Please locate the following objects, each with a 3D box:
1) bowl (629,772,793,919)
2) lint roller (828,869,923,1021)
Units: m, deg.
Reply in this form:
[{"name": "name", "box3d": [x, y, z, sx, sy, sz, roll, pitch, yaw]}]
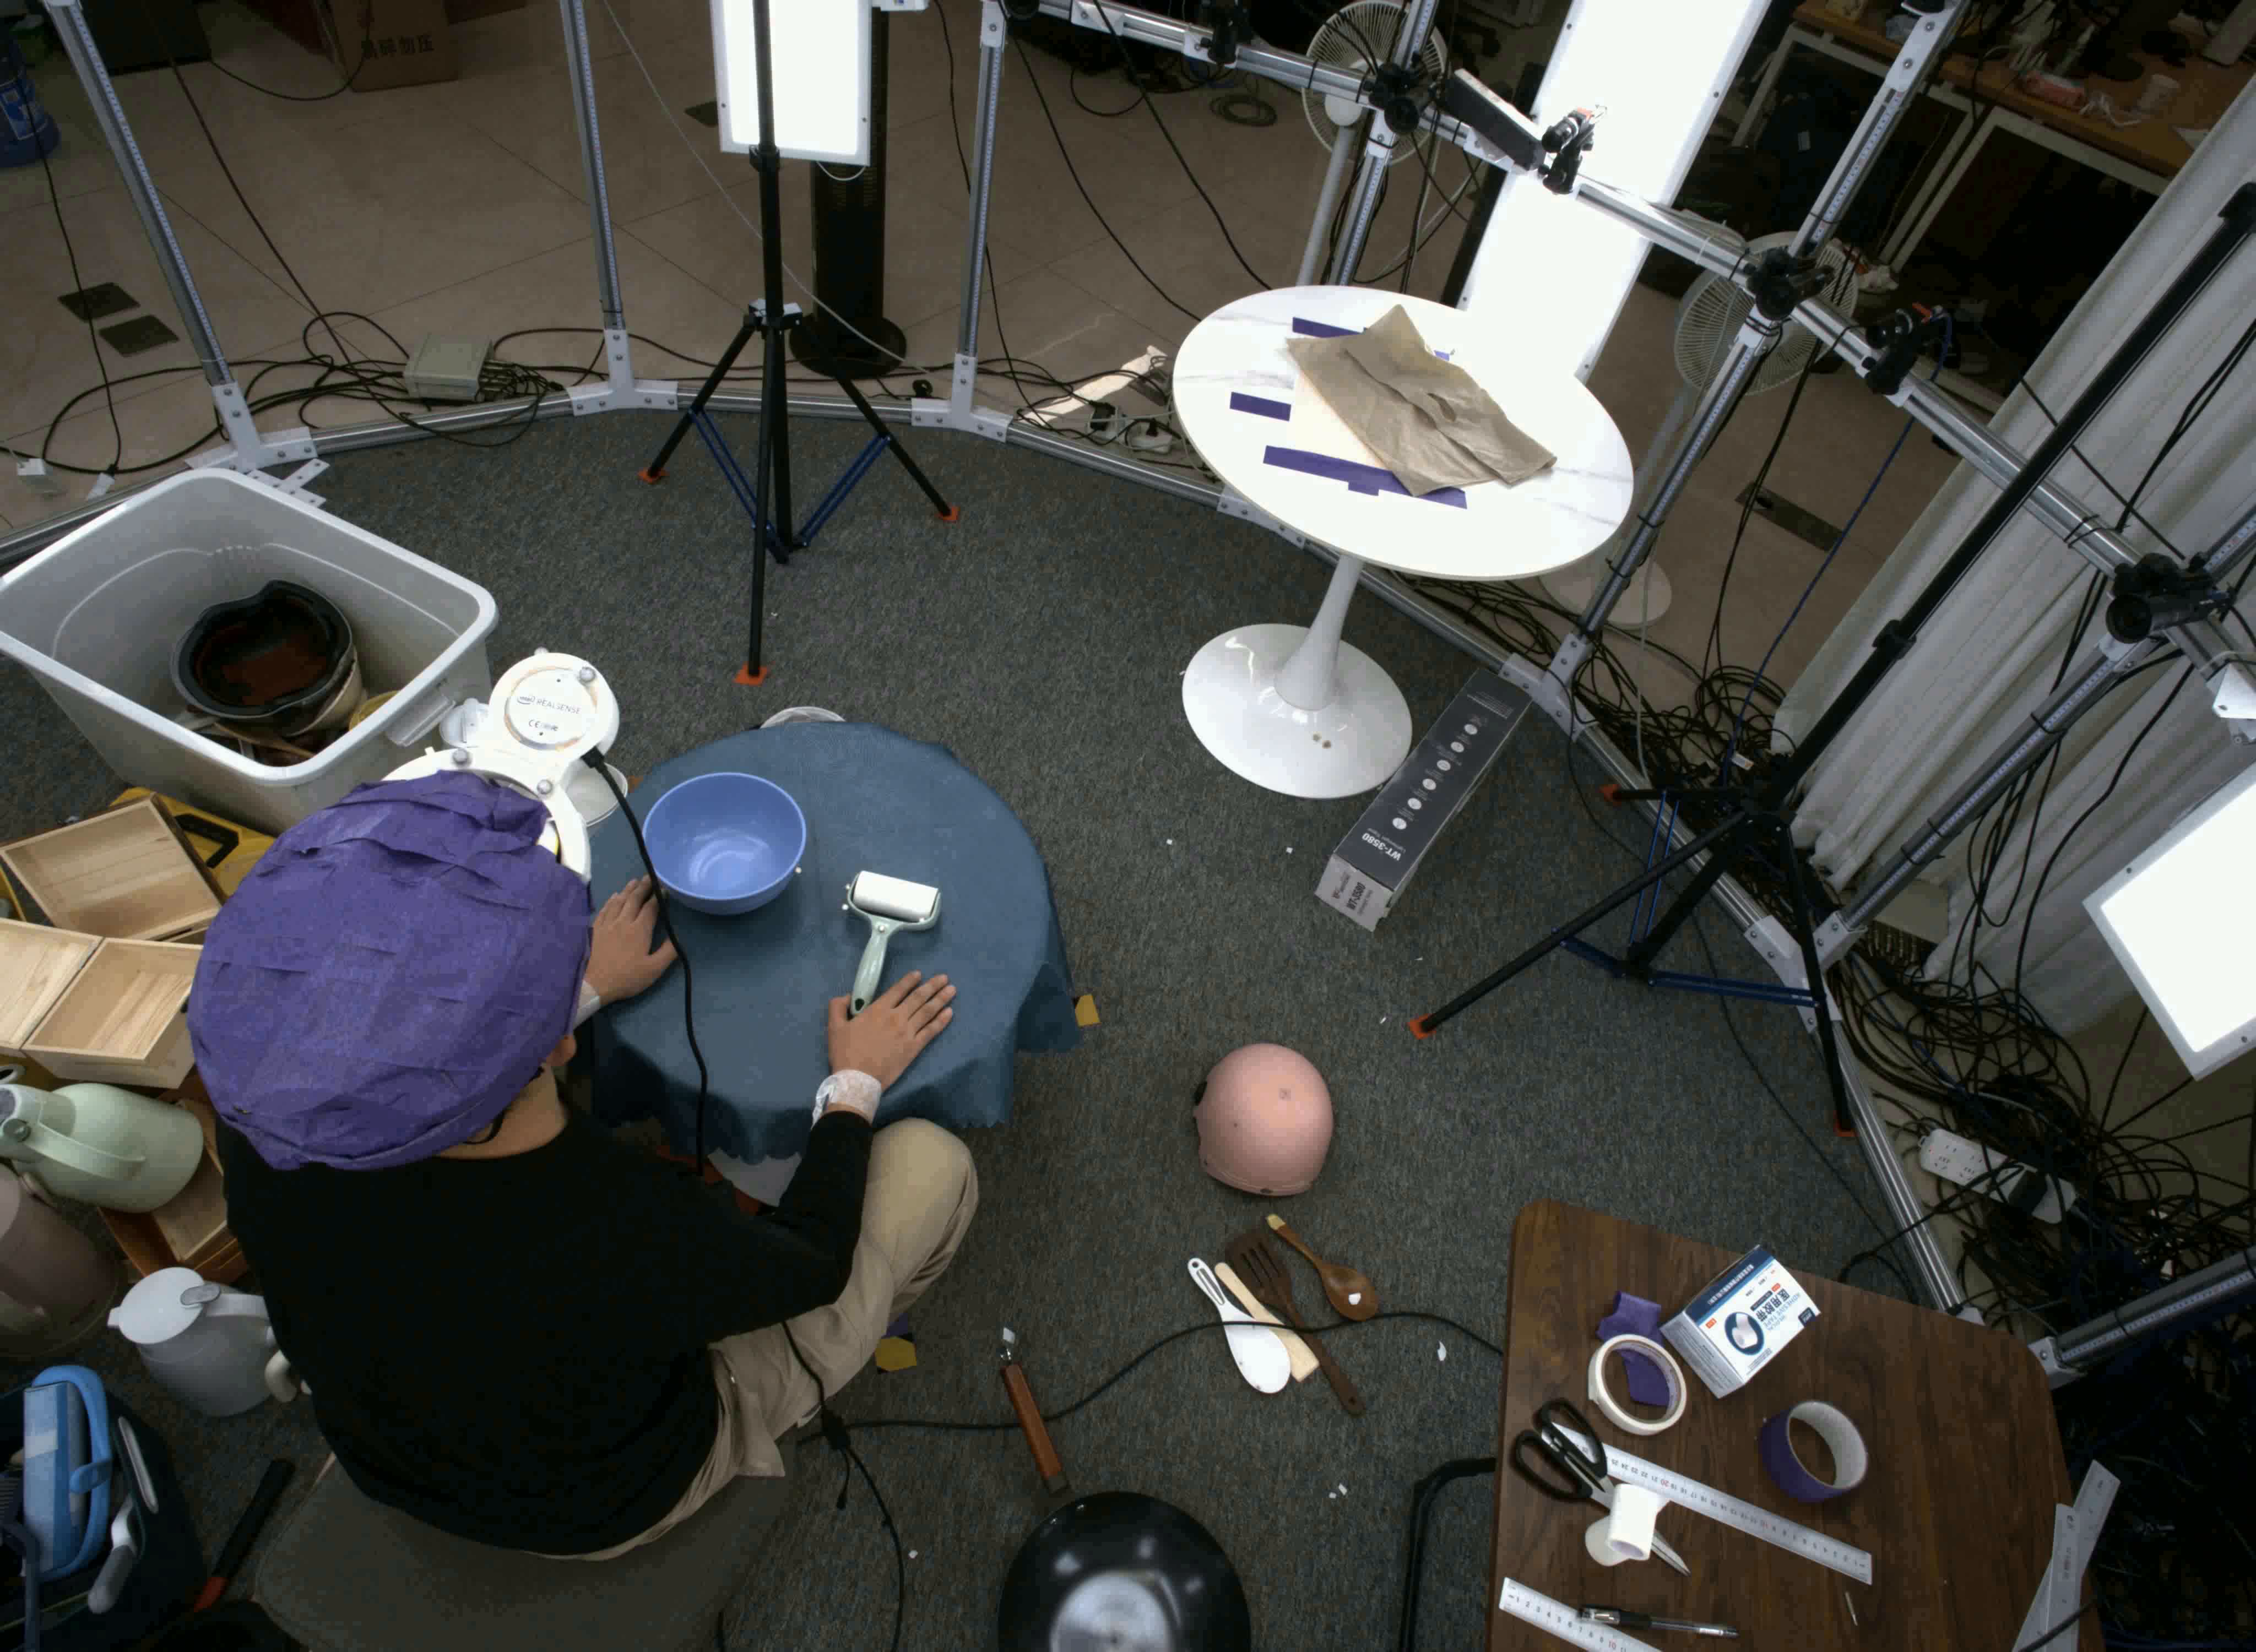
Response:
[{"name": "bowl", "box3d": [-0.516, 0.038, 1.603, 0.196, 0.097, 0.193, 9, 52, -9]}, {"name": "lint roller", "box3d": [-0.329, 0.144, 1.608, 0.116, 0.049, 0.195, 14, 53, -5]}]
